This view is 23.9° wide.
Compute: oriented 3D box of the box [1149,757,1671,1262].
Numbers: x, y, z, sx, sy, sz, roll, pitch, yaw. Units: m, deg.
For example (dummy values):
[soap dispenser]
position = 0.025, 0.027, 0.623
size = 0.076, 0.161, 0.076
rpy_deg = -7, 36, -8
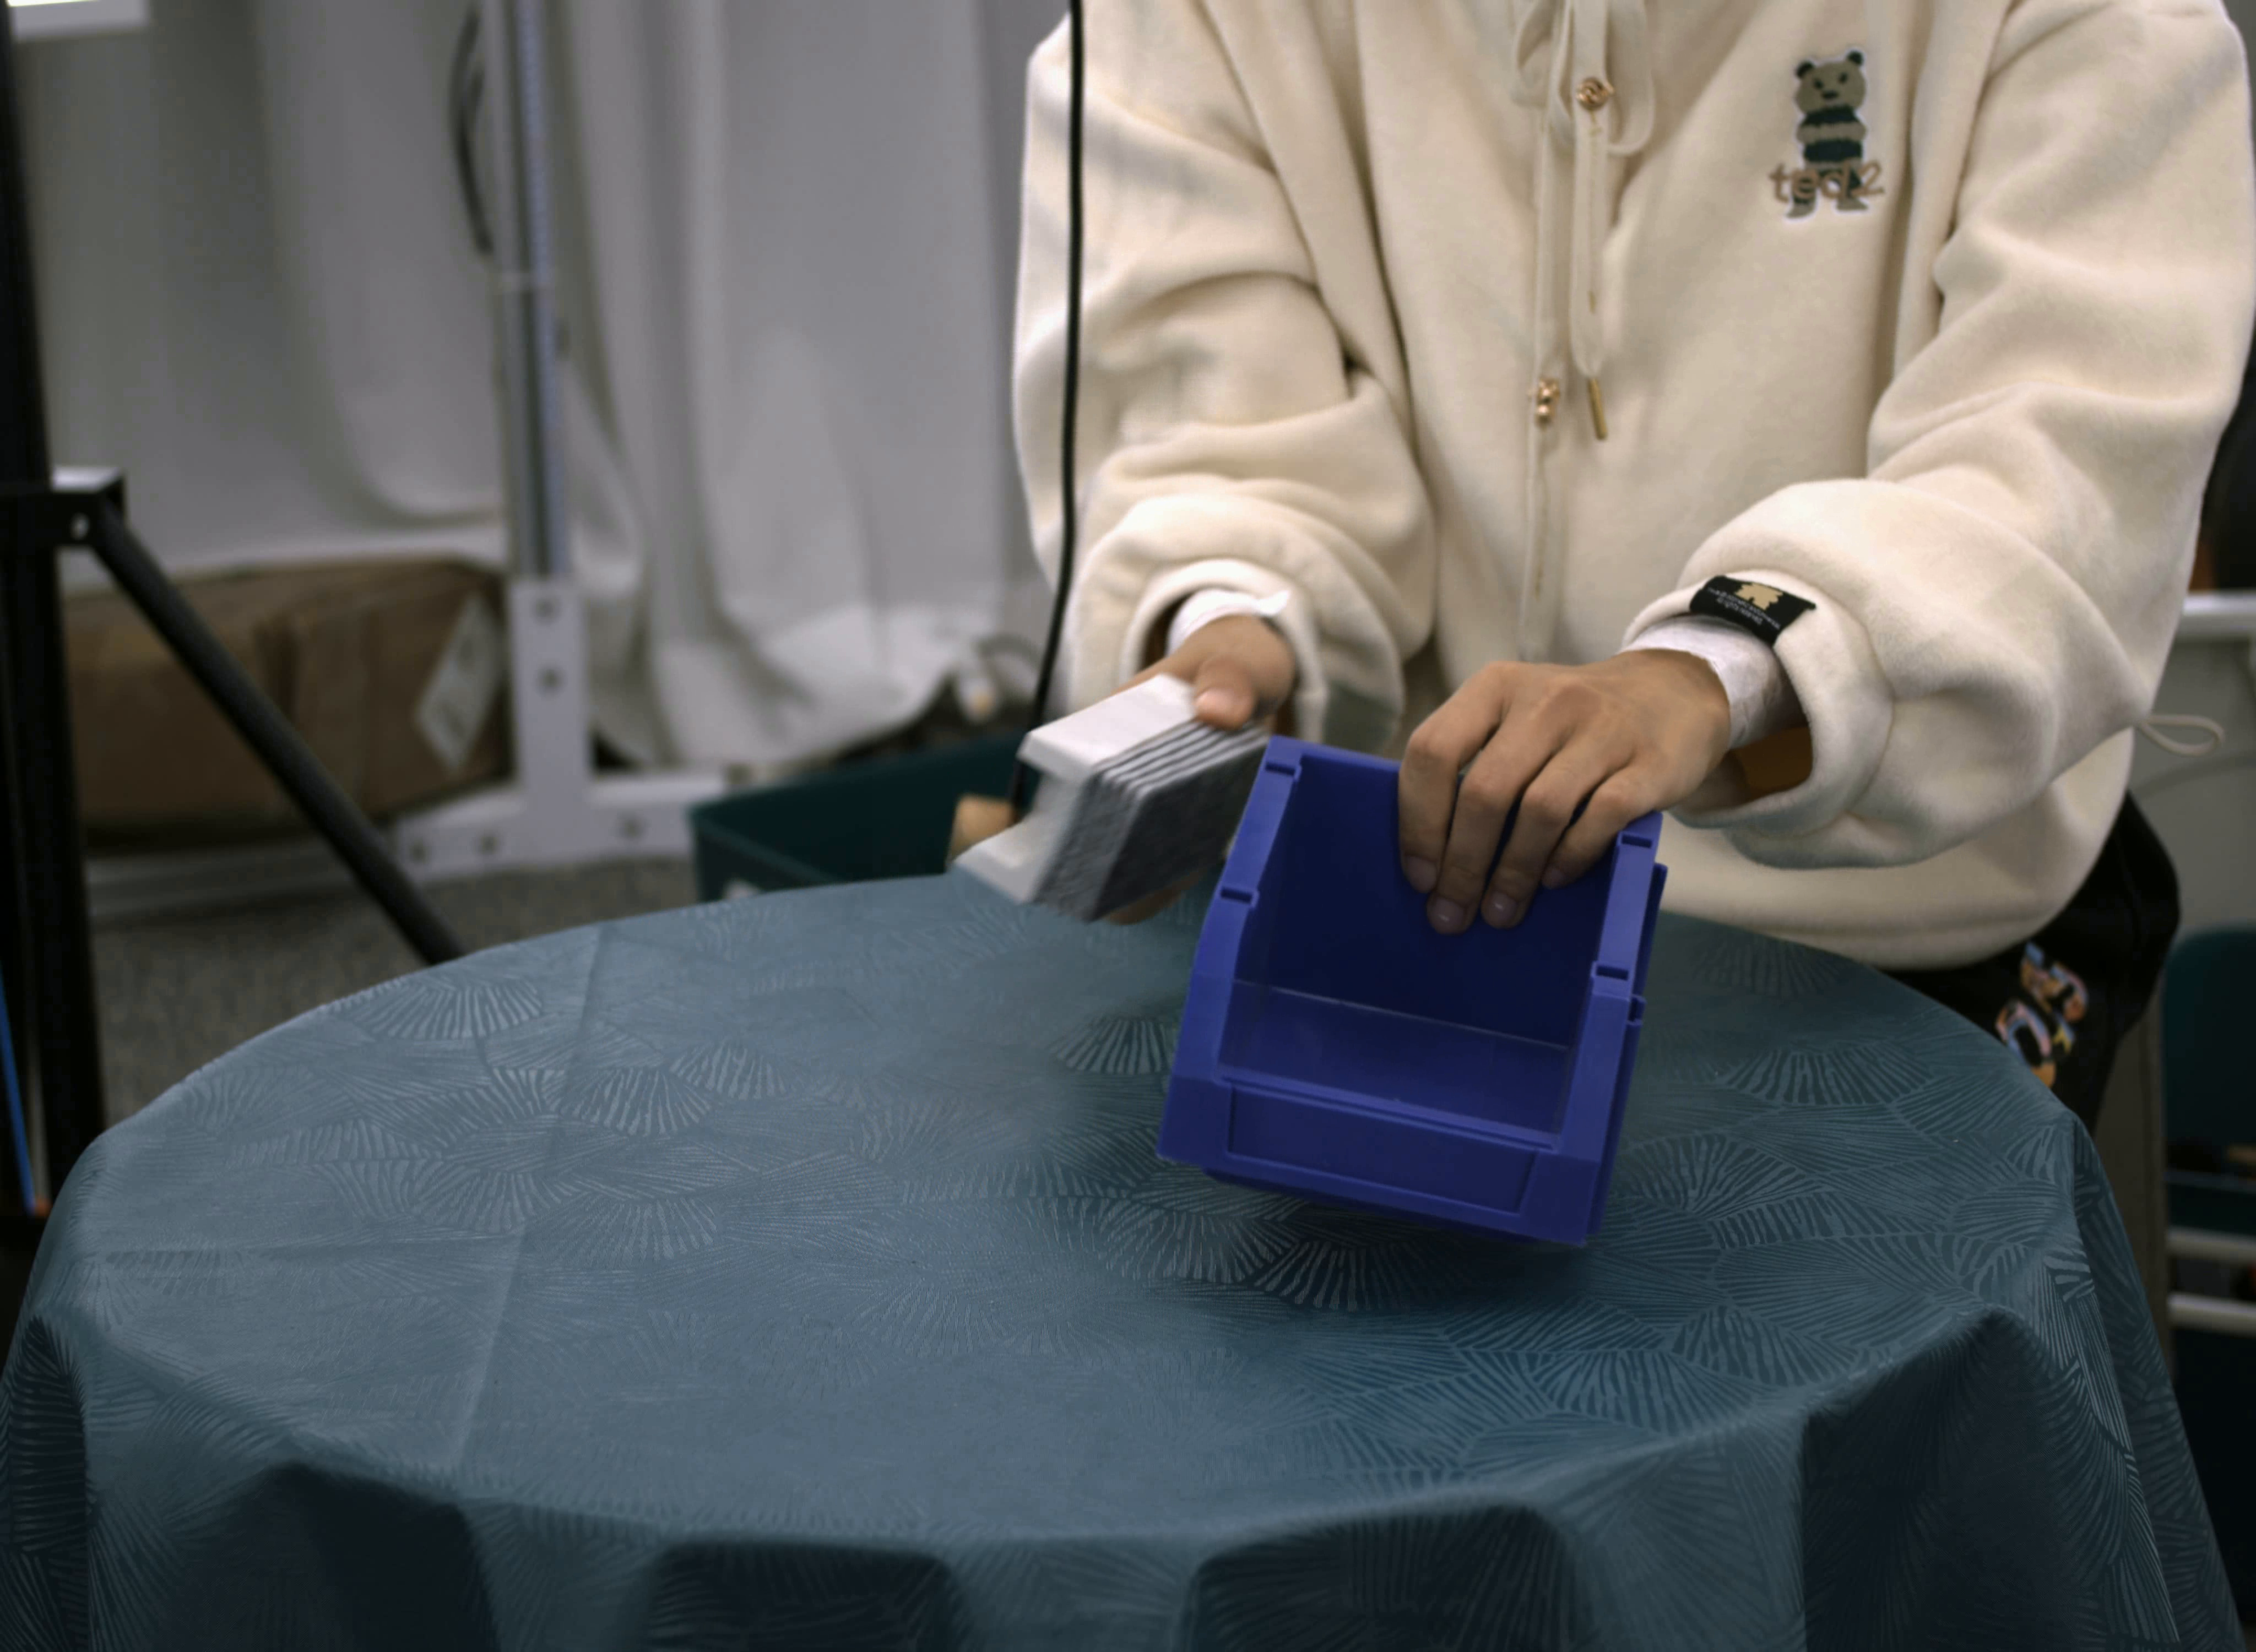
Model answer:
[box]
position = 0.084, 0.056, 1.505
size = 0.125, 0.082, 0.179
rpy_deg = 12, 19, 7

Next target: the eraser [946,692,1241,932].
[eraser]
position = -0.008, -0.005, 1.635
size = 0.047, 0.050, 0.132
rpy_deg = 30, 14, 11
